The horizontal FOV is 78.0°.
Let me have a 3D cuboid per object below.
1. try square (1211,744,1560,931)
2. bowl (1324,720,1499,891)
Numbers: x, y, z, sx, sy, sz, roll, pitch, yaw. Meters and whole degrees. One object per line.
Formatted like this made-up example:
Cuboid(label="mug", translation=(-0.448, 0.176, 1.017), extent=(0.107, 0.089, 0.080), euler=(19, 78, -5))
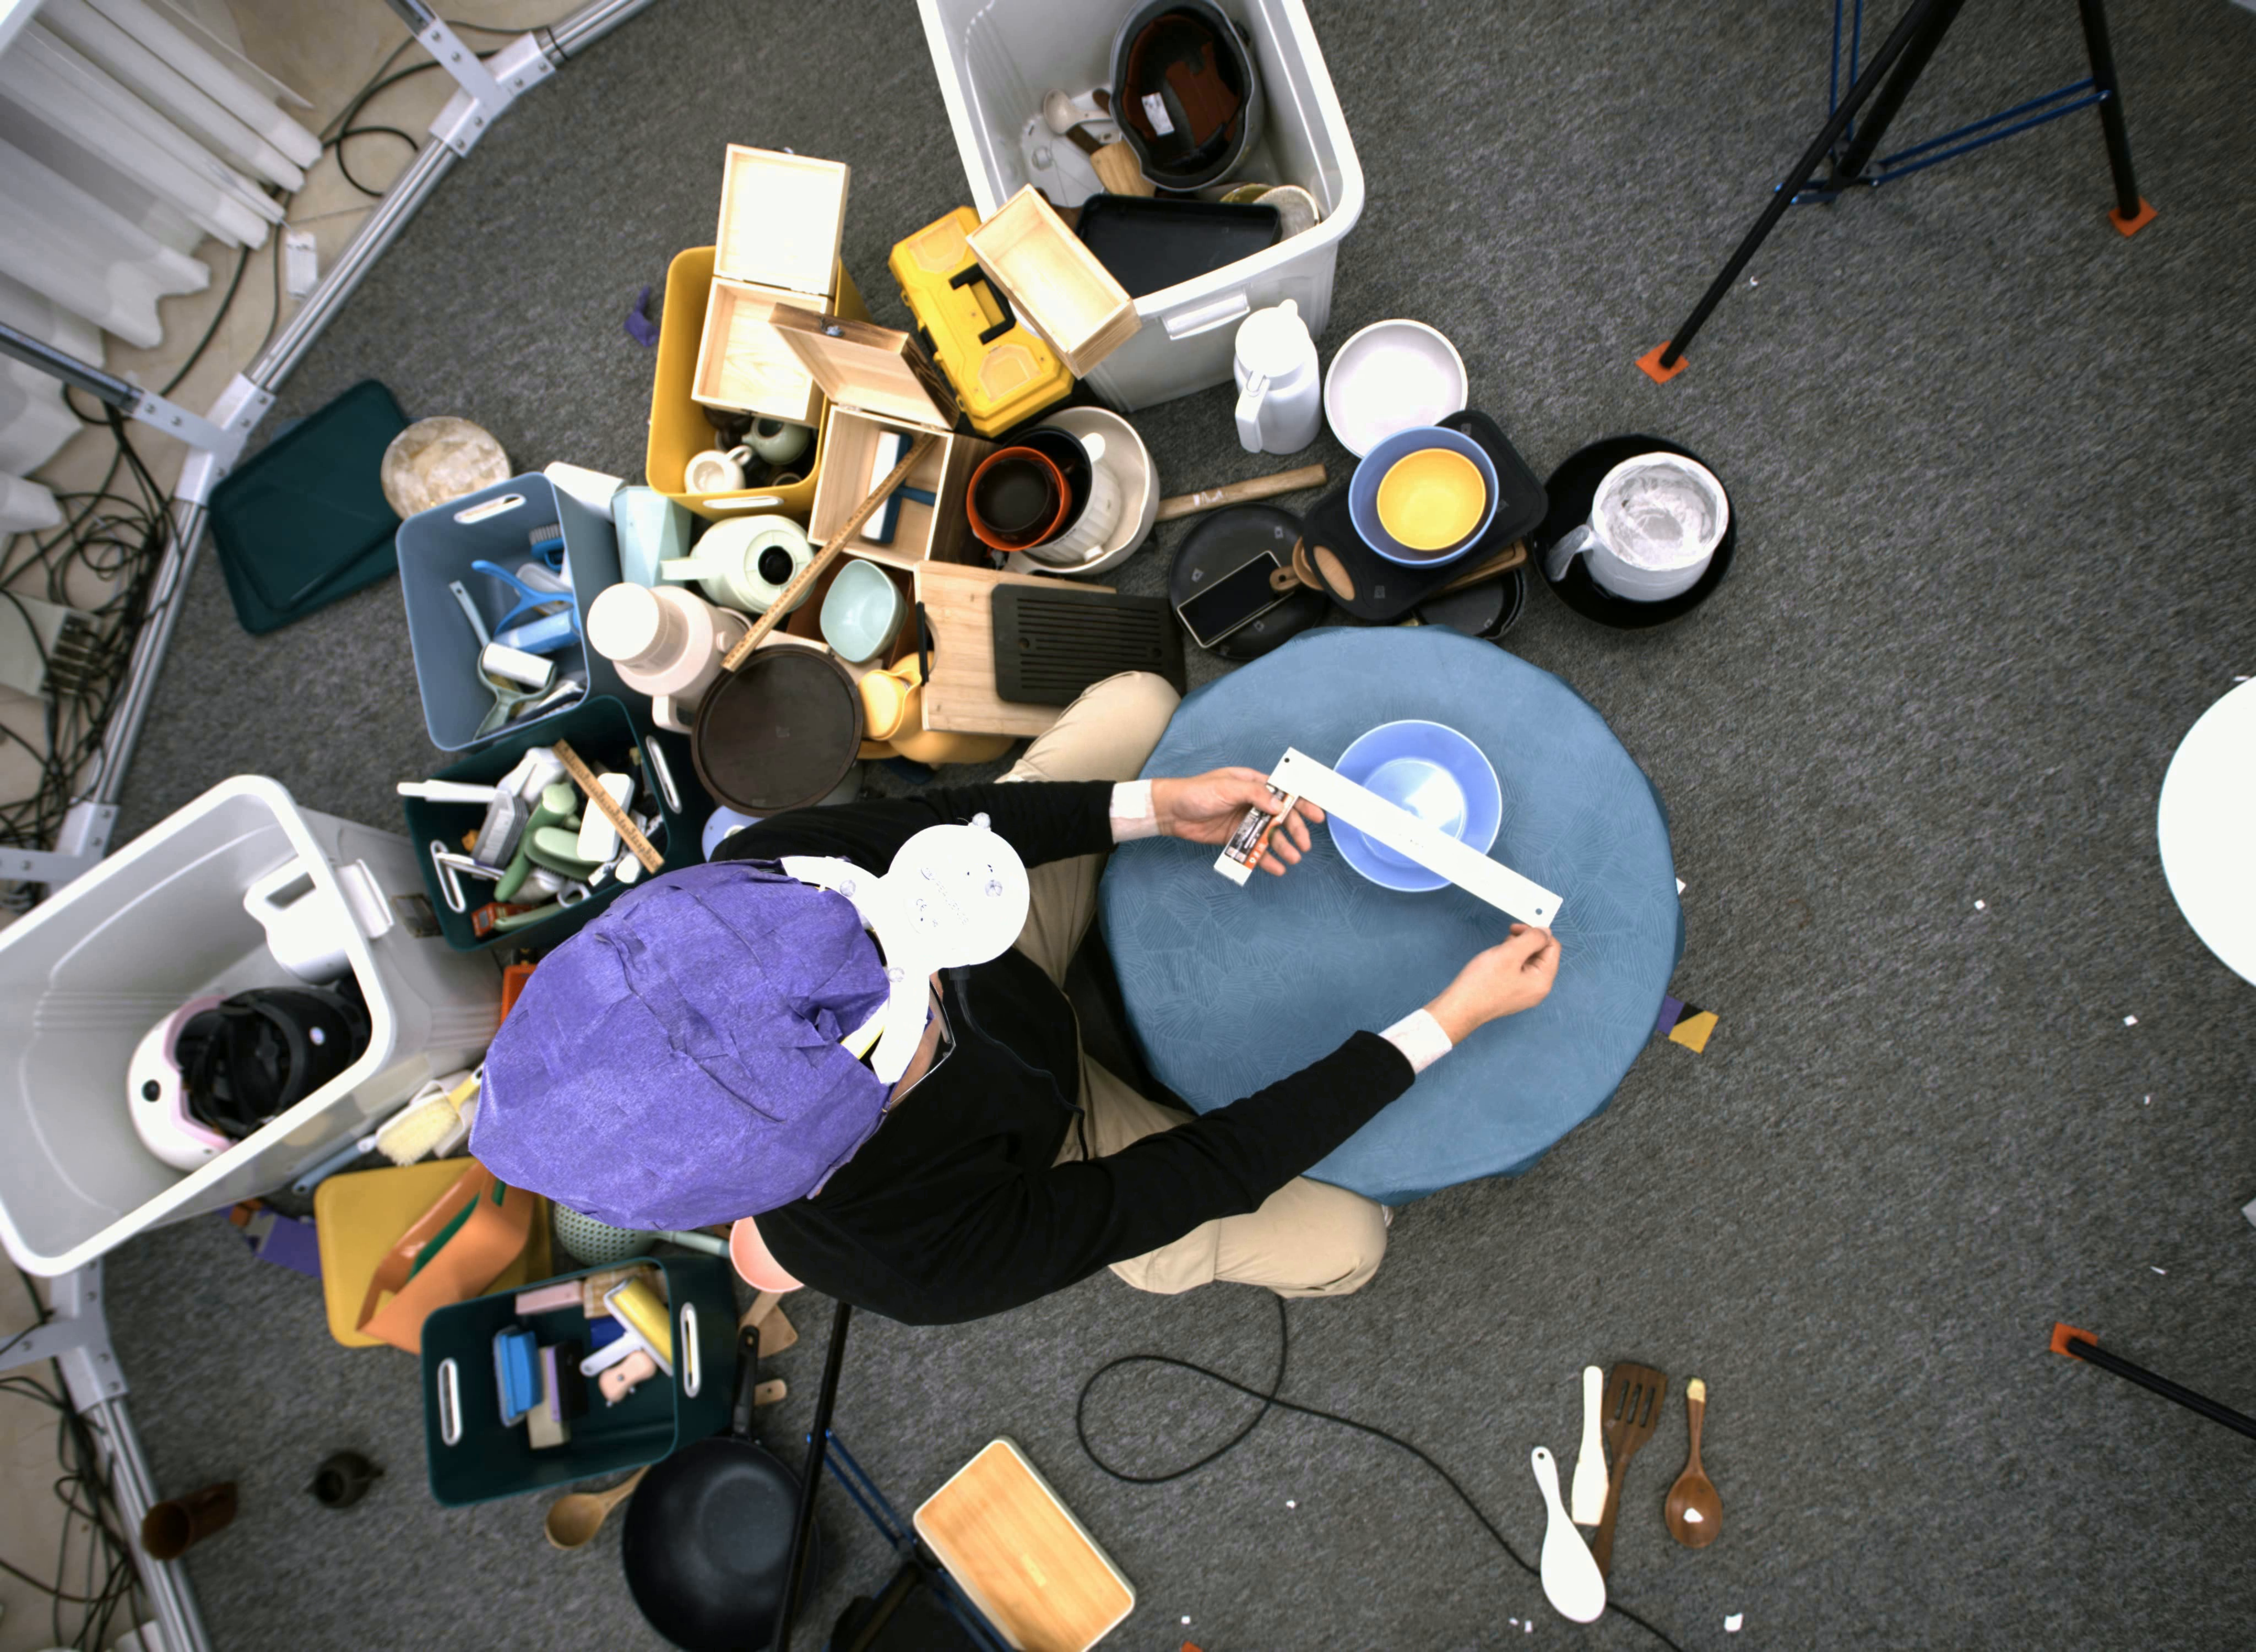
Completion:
Cuboid(label="try square", translation=(0.252, 0.053, 1.363), extent=(0.312, 0.016, 0.151), euler=(30, 82, 11))
Cuboid(label="bowl", translation=(0.292, -0.019, 1.426), extent=(0.177, 0.070, 0.175), euler=(-1, 87, 10))
